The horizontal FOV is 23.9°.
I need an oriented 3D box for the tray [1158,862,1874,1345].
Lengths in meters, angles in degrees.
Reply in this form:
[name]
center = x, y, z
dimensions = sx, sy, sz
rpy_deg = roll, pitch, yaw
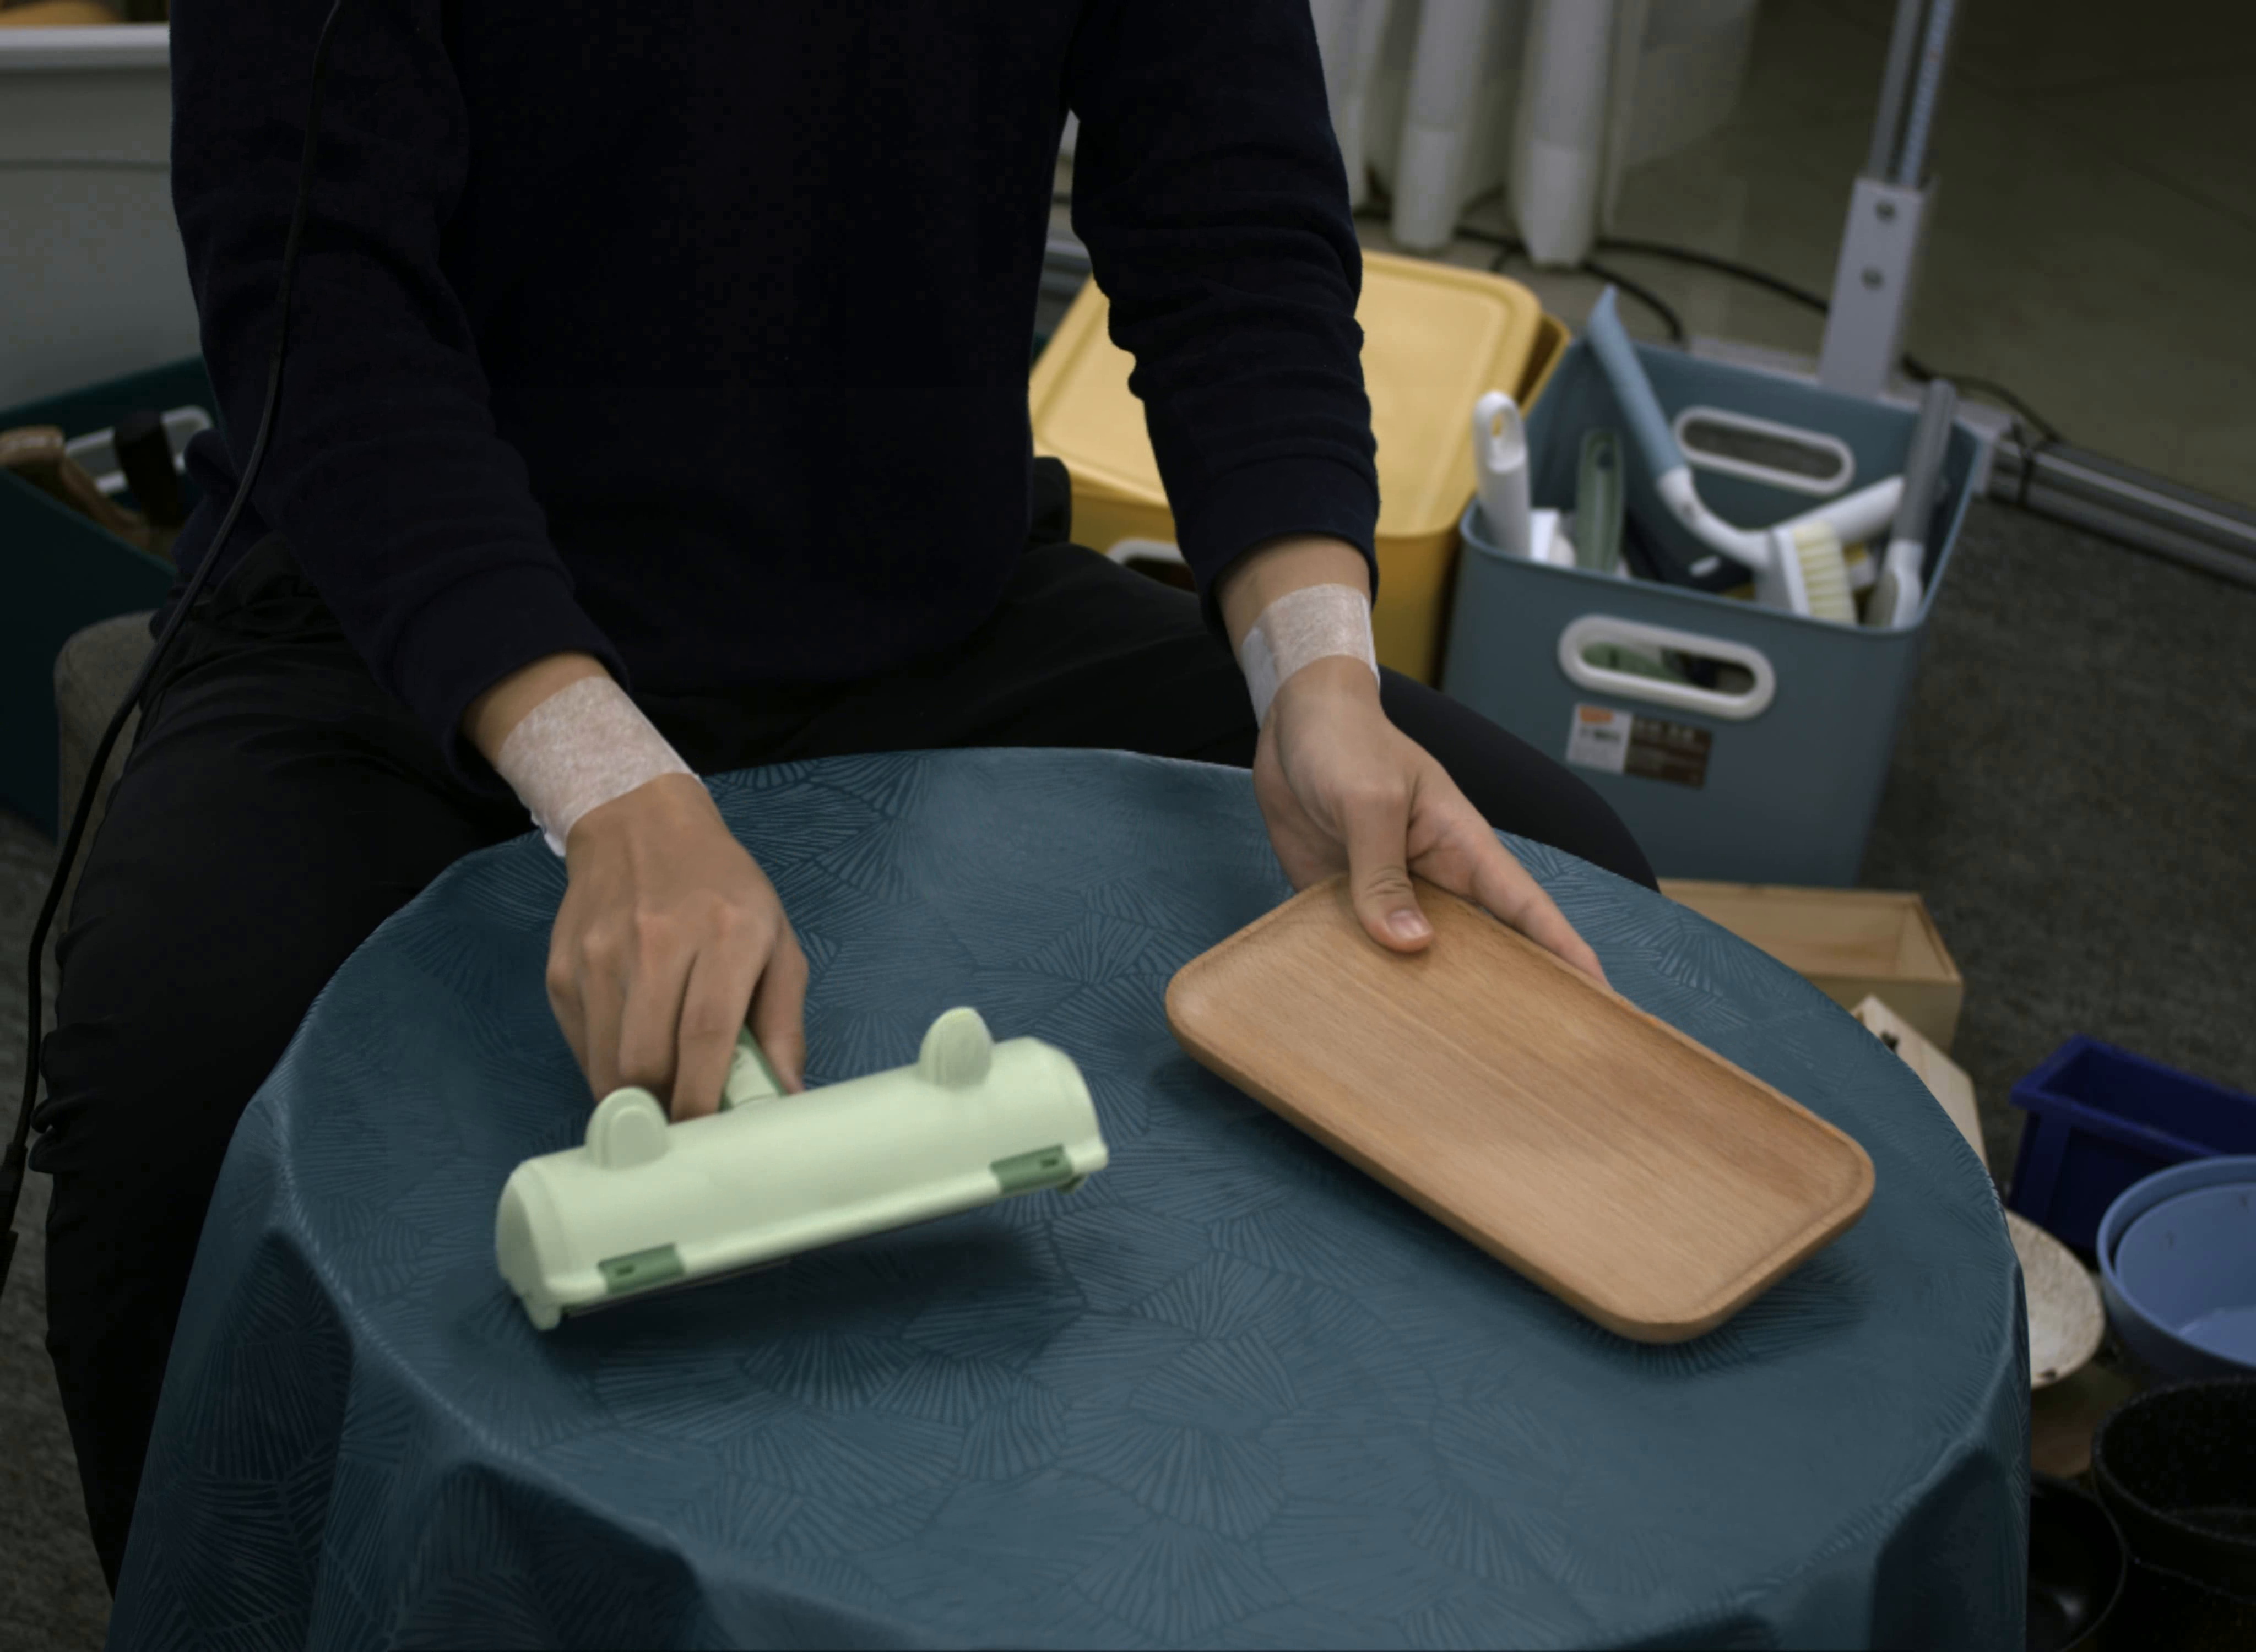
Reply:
[tray]
center = 0.131, 0.093, 1.836
dimensions = 0.130, 0.023, 0.252
rpy_deg = -28, 45, -34

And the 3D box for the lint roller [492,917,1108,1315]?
[lint roller]
center = -0.129, 0.070, 1.744
dimensions = 0.197, 0.082, 0.185
rpy_deg = -13, 45, -24
